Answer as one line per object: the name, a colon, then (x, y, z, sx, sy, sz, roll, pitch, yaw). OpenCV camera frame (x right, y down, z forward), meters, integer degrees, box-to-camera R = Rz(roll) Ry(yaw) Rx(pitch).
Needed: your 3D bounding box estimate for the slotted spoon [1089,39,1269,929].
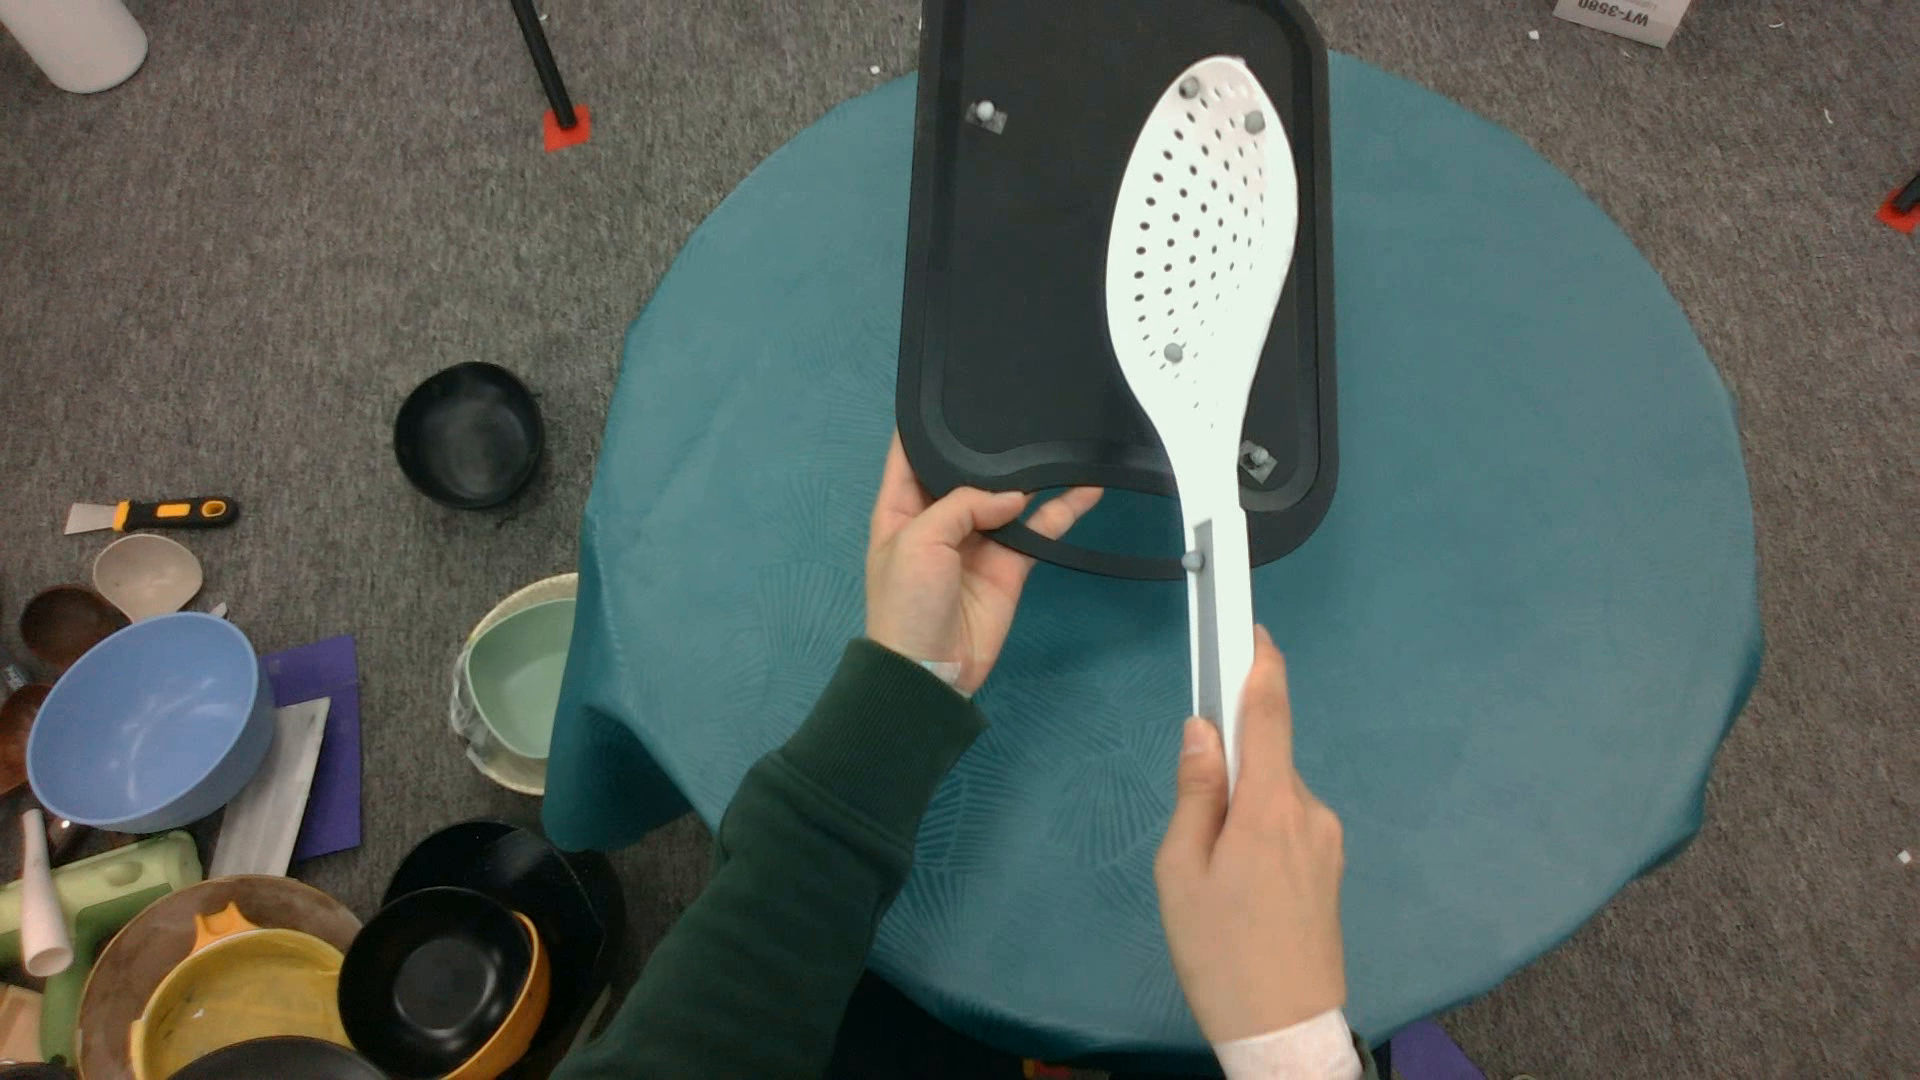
slotted spoon: (0.090, -0.030, 0.540, 0.046, 0.135, 0.350, 9, 73, -17)

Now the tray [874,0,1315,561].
tray: (0.069, -0.148, 0.640, 0.211, 0.010, 0.326, 7, 72, -15)
